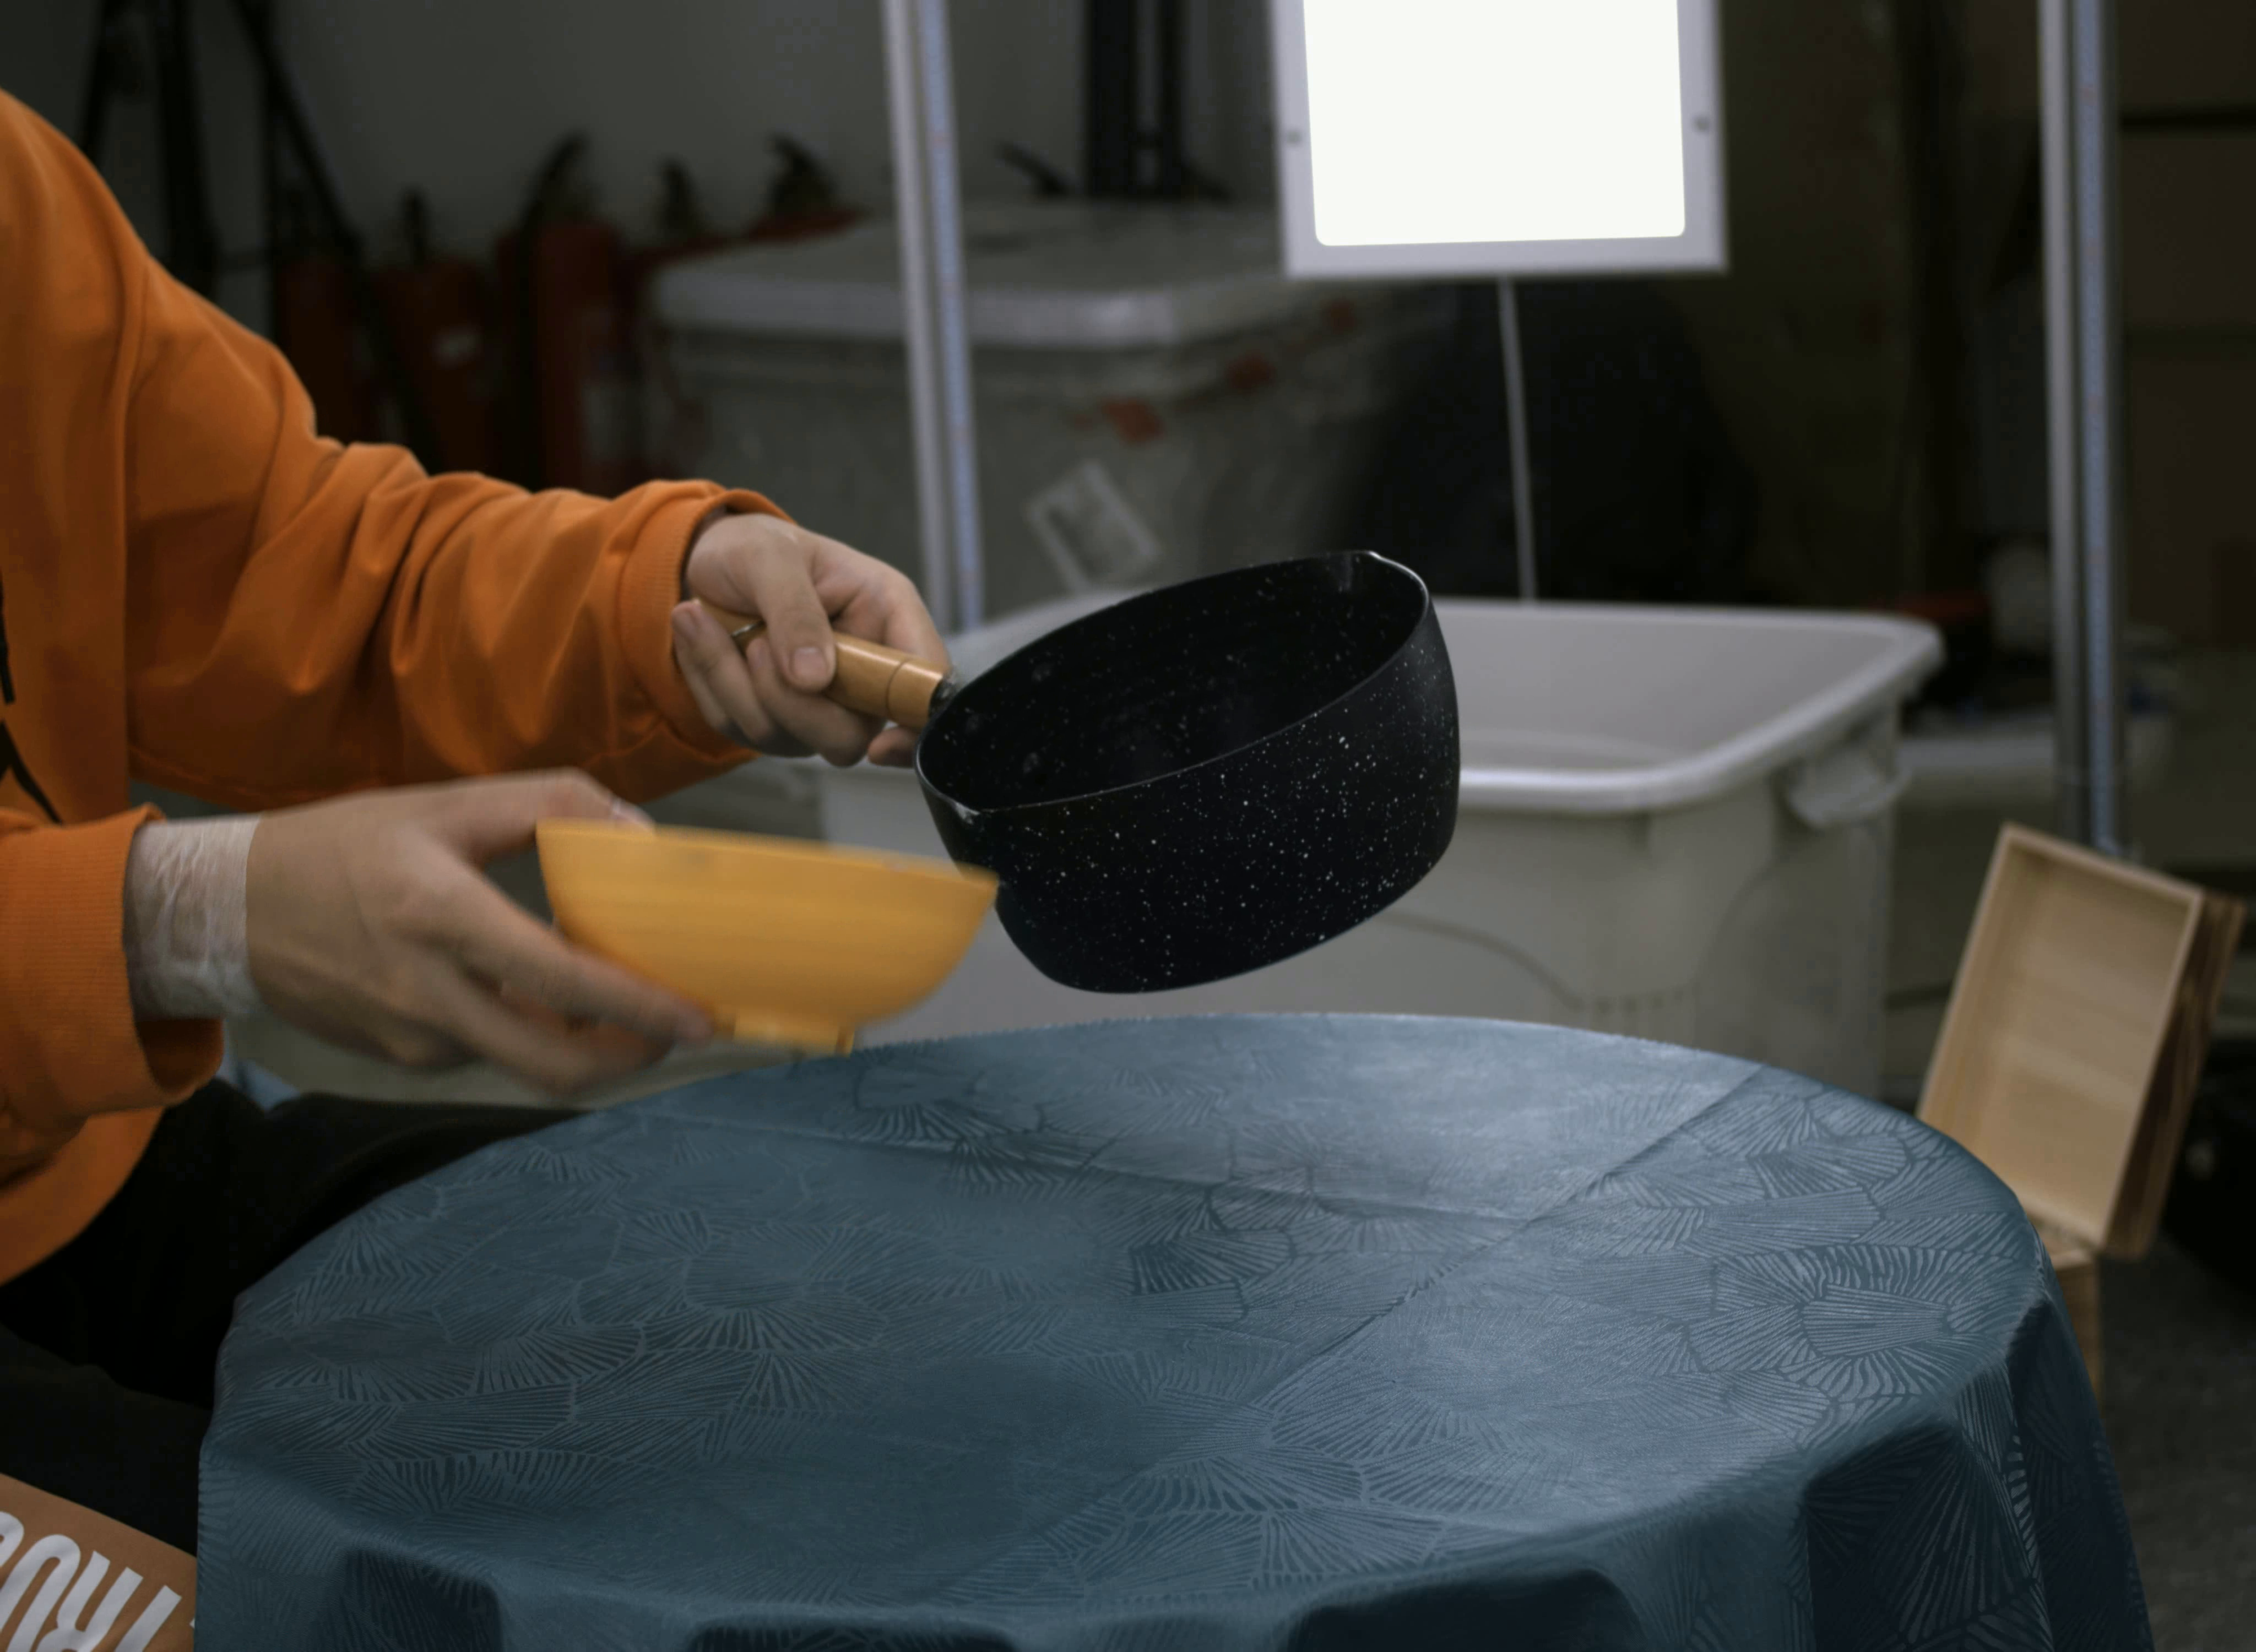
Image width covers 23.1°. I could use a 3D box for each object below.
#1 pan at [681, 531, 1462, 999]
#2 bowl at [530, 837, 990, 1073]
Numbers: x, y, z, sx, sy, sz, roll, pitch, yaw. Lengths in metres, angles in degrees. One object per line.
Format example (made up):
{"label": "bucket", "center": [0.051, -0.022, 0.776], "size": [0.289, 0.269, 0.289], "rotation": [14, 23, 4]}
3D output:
{"label": "pan", "center": [-0.031, -0.028, 1.920], "size": [0.350, 0.108, 0.203], "rotation": [5, 33, 47]}
{"label": "bowl", "center": [-0.117, 0.043, 1.703], "size": [0.145, 0.060, 0.145], "rotation": [7, -4, -1]}
